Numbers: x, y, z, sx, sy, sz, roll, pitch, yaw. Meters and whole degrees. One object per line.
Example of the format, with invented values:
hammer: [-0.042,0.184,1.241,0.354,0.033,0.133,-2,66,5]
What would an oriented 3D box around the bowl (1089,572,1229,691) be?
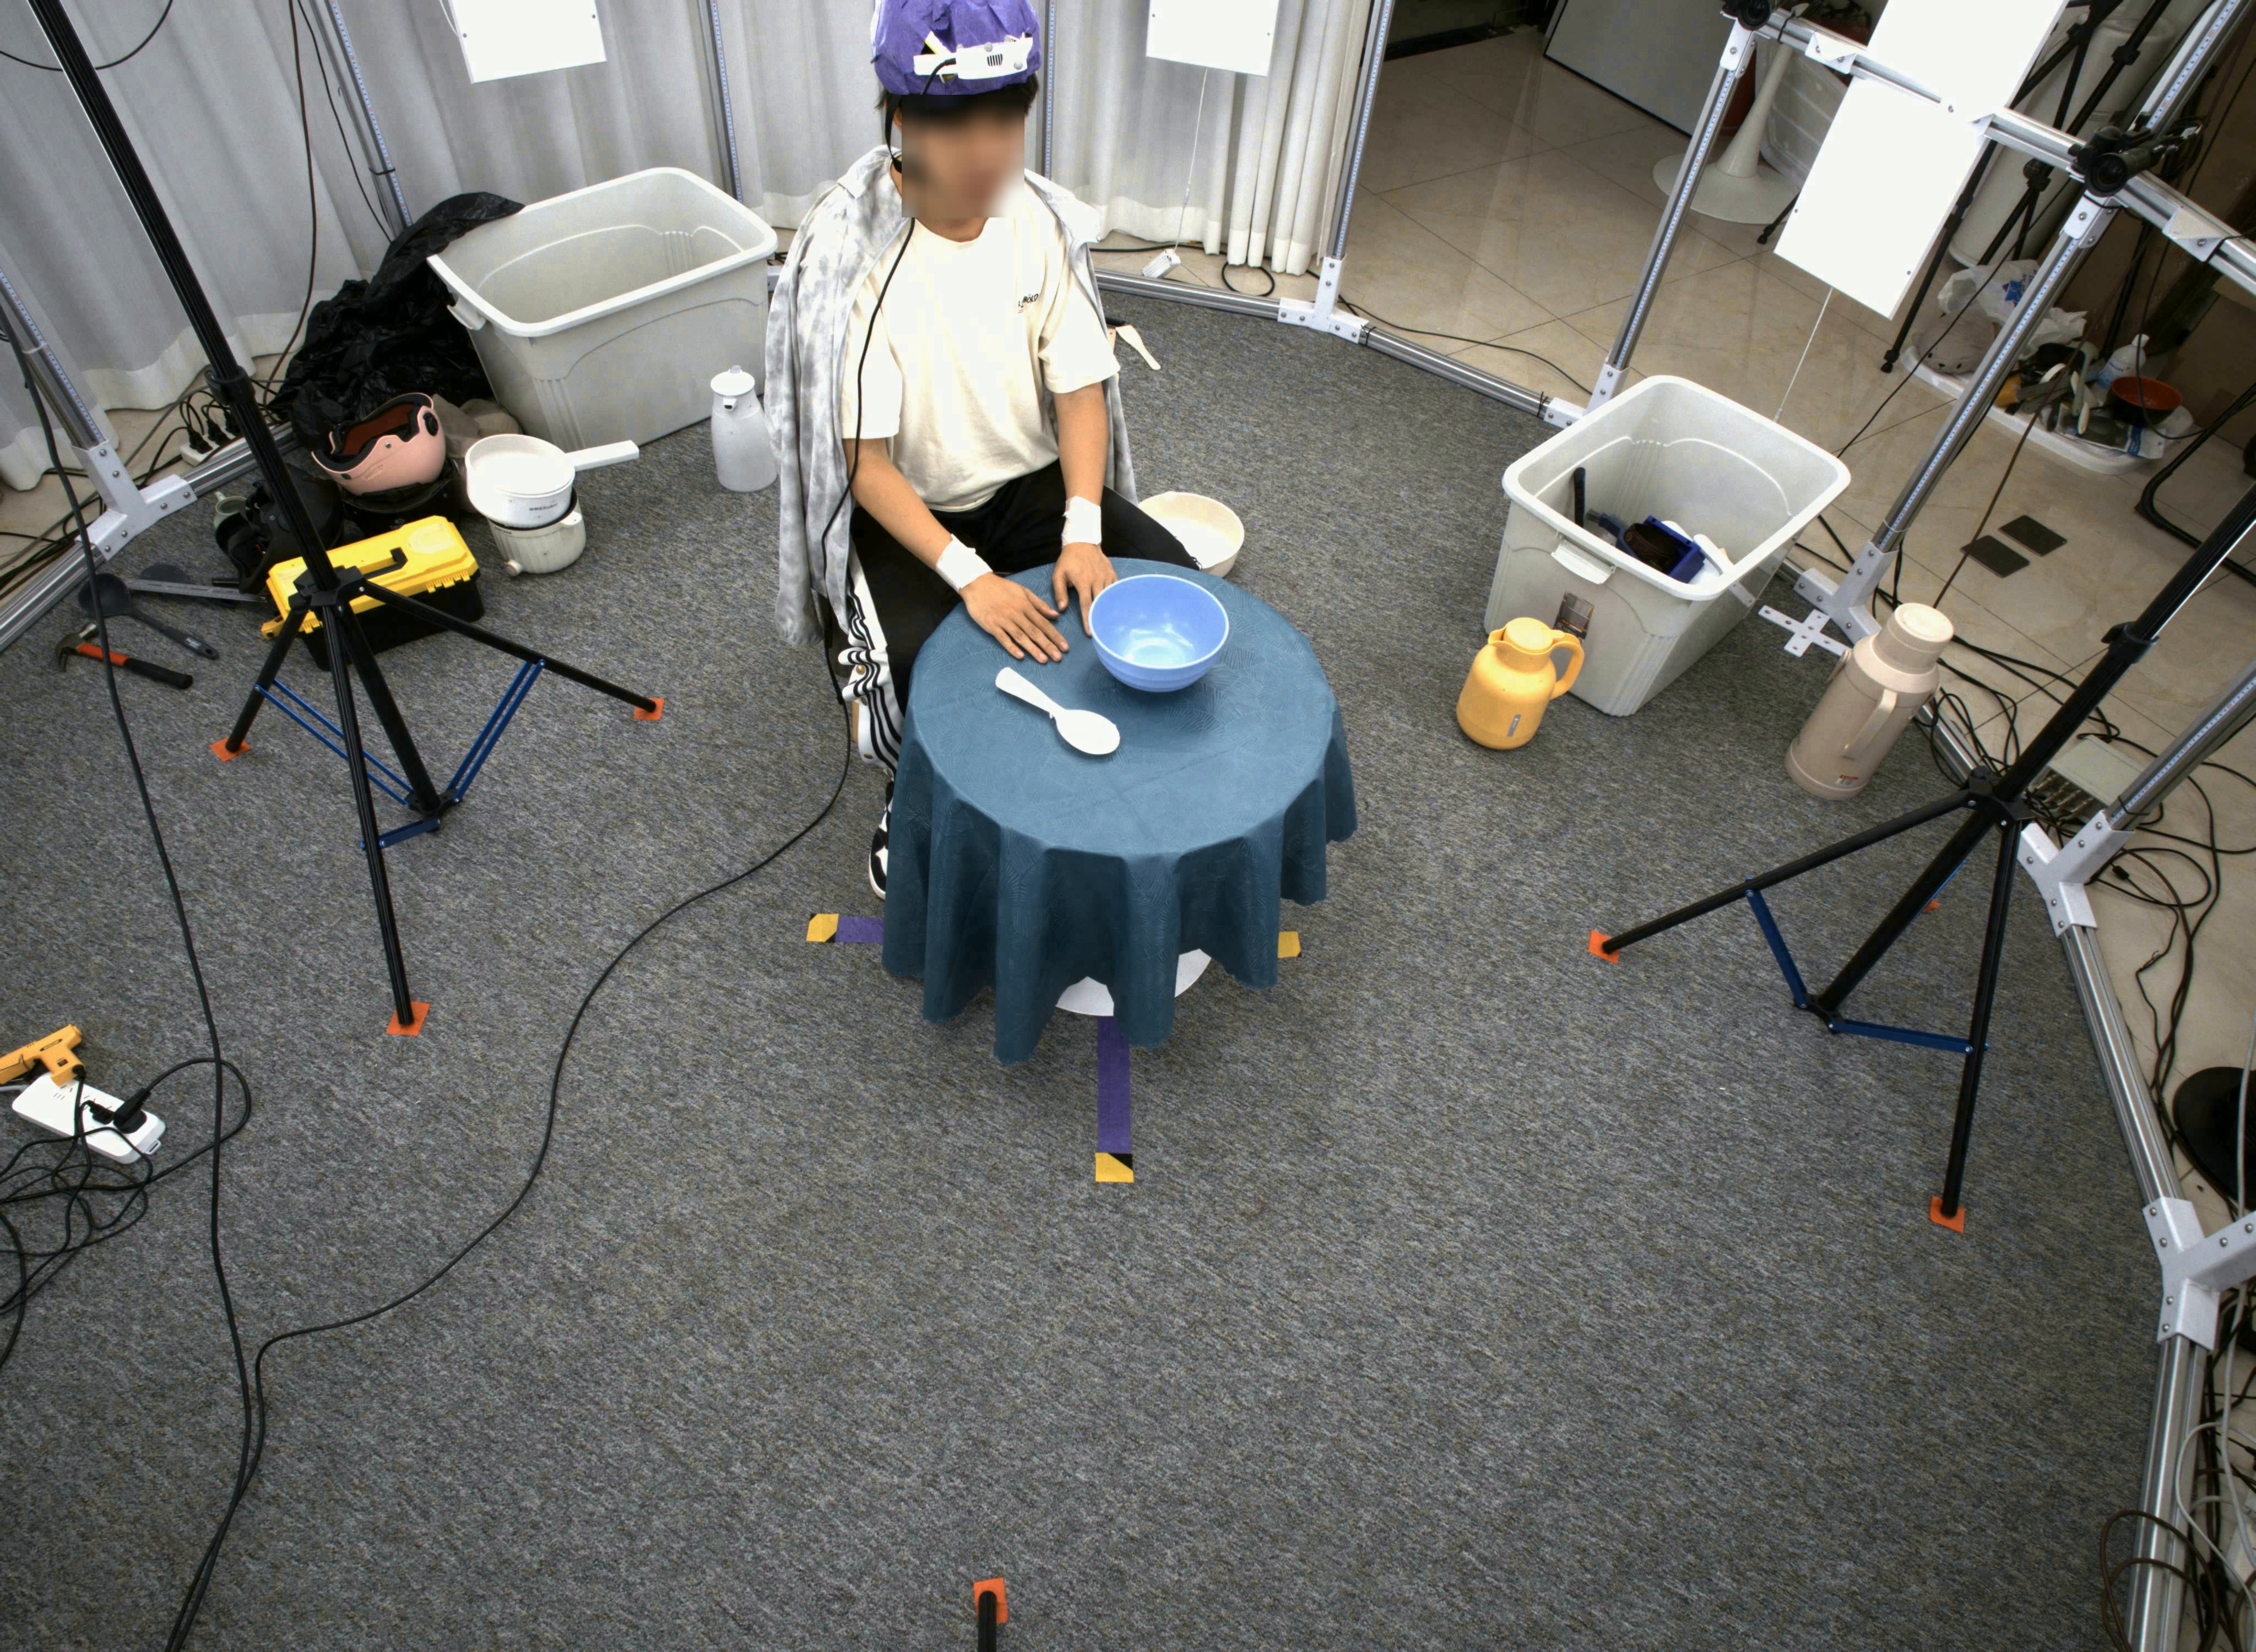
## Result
bowl: [0.041,-0.261,1.828,0.196,0.093,0.201,2,51,-3]

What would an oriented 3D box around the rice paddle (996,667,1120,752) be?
rice paddle: [-0.096,-0.161,1.774,0.208,0.029,0.069,33,56,23]
